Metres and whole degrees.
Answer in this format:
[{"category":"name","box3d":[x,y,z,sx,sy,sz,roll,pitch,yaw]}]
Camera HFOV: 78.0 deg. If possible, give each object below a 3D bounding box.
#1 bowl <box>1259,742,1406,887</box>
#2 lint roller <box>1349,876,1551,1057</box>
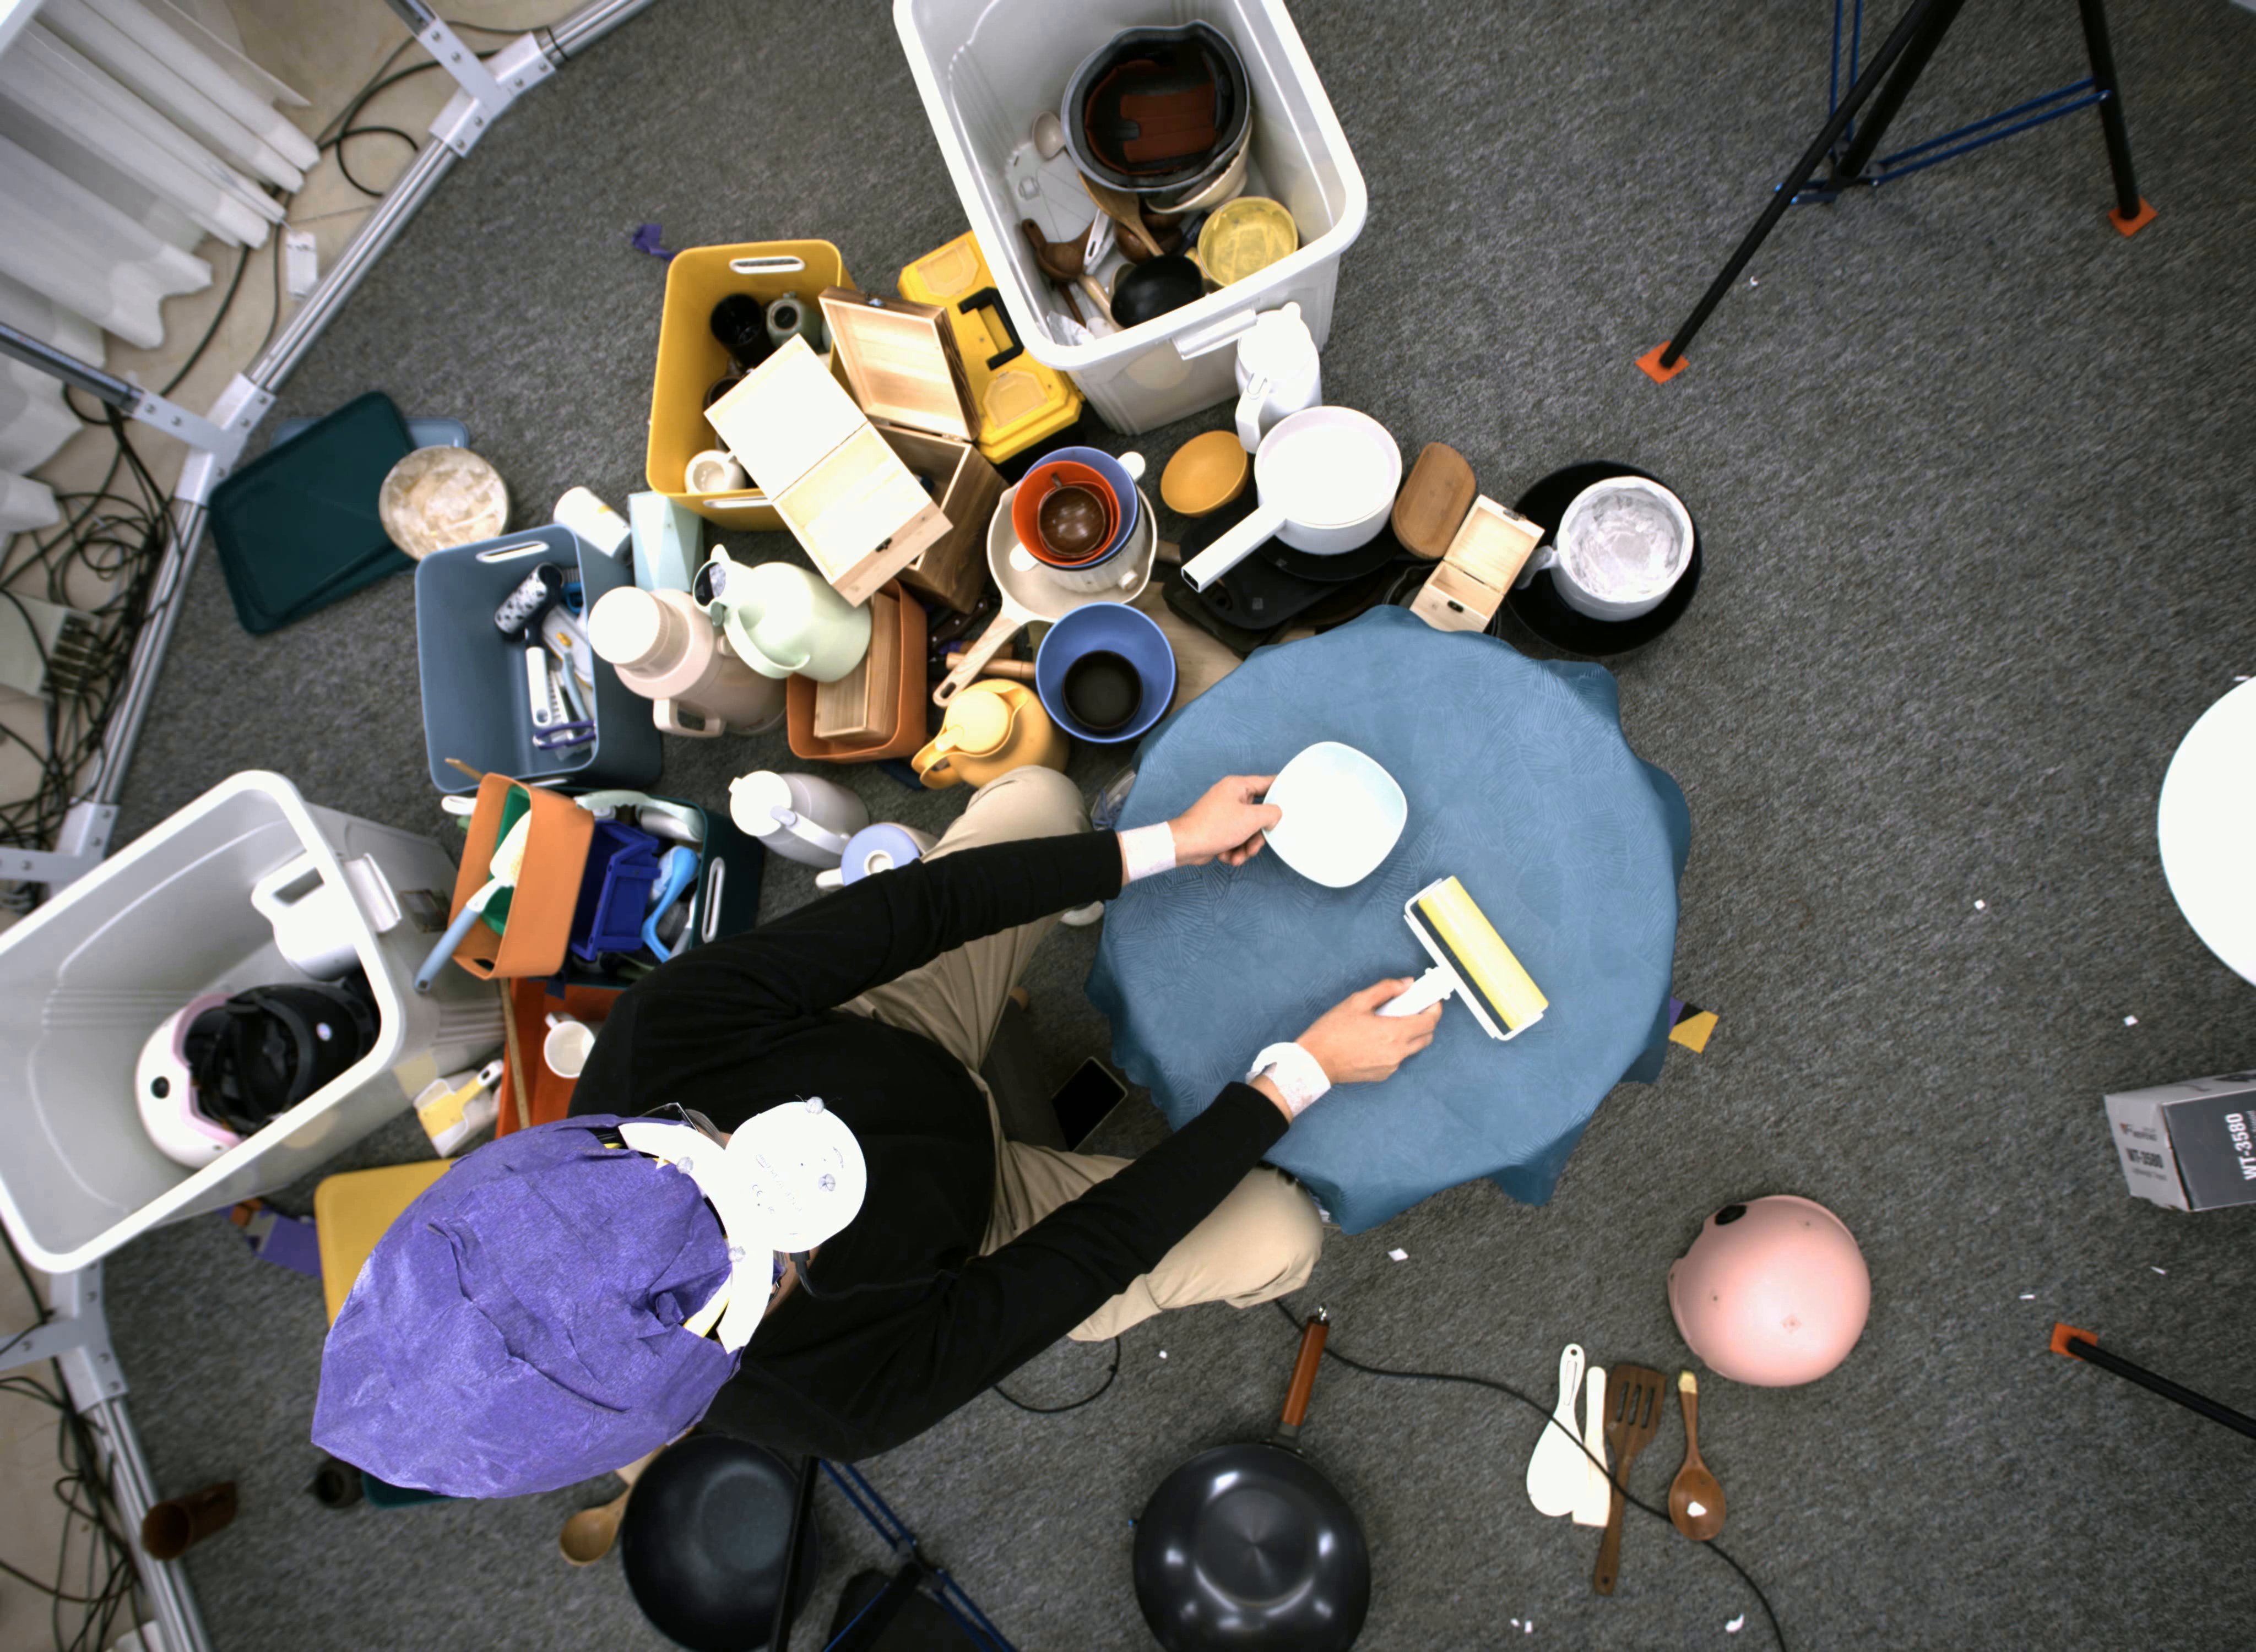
[{"category":"bowl","box3d":[0.214,-0.010,1.446,0.152,0.059,0.150,-1,86,8]},{"category":"lint roller","box3d":[0.307,0.169,1.410,0.191,0.052,0.173,-36,80,-5]}]
